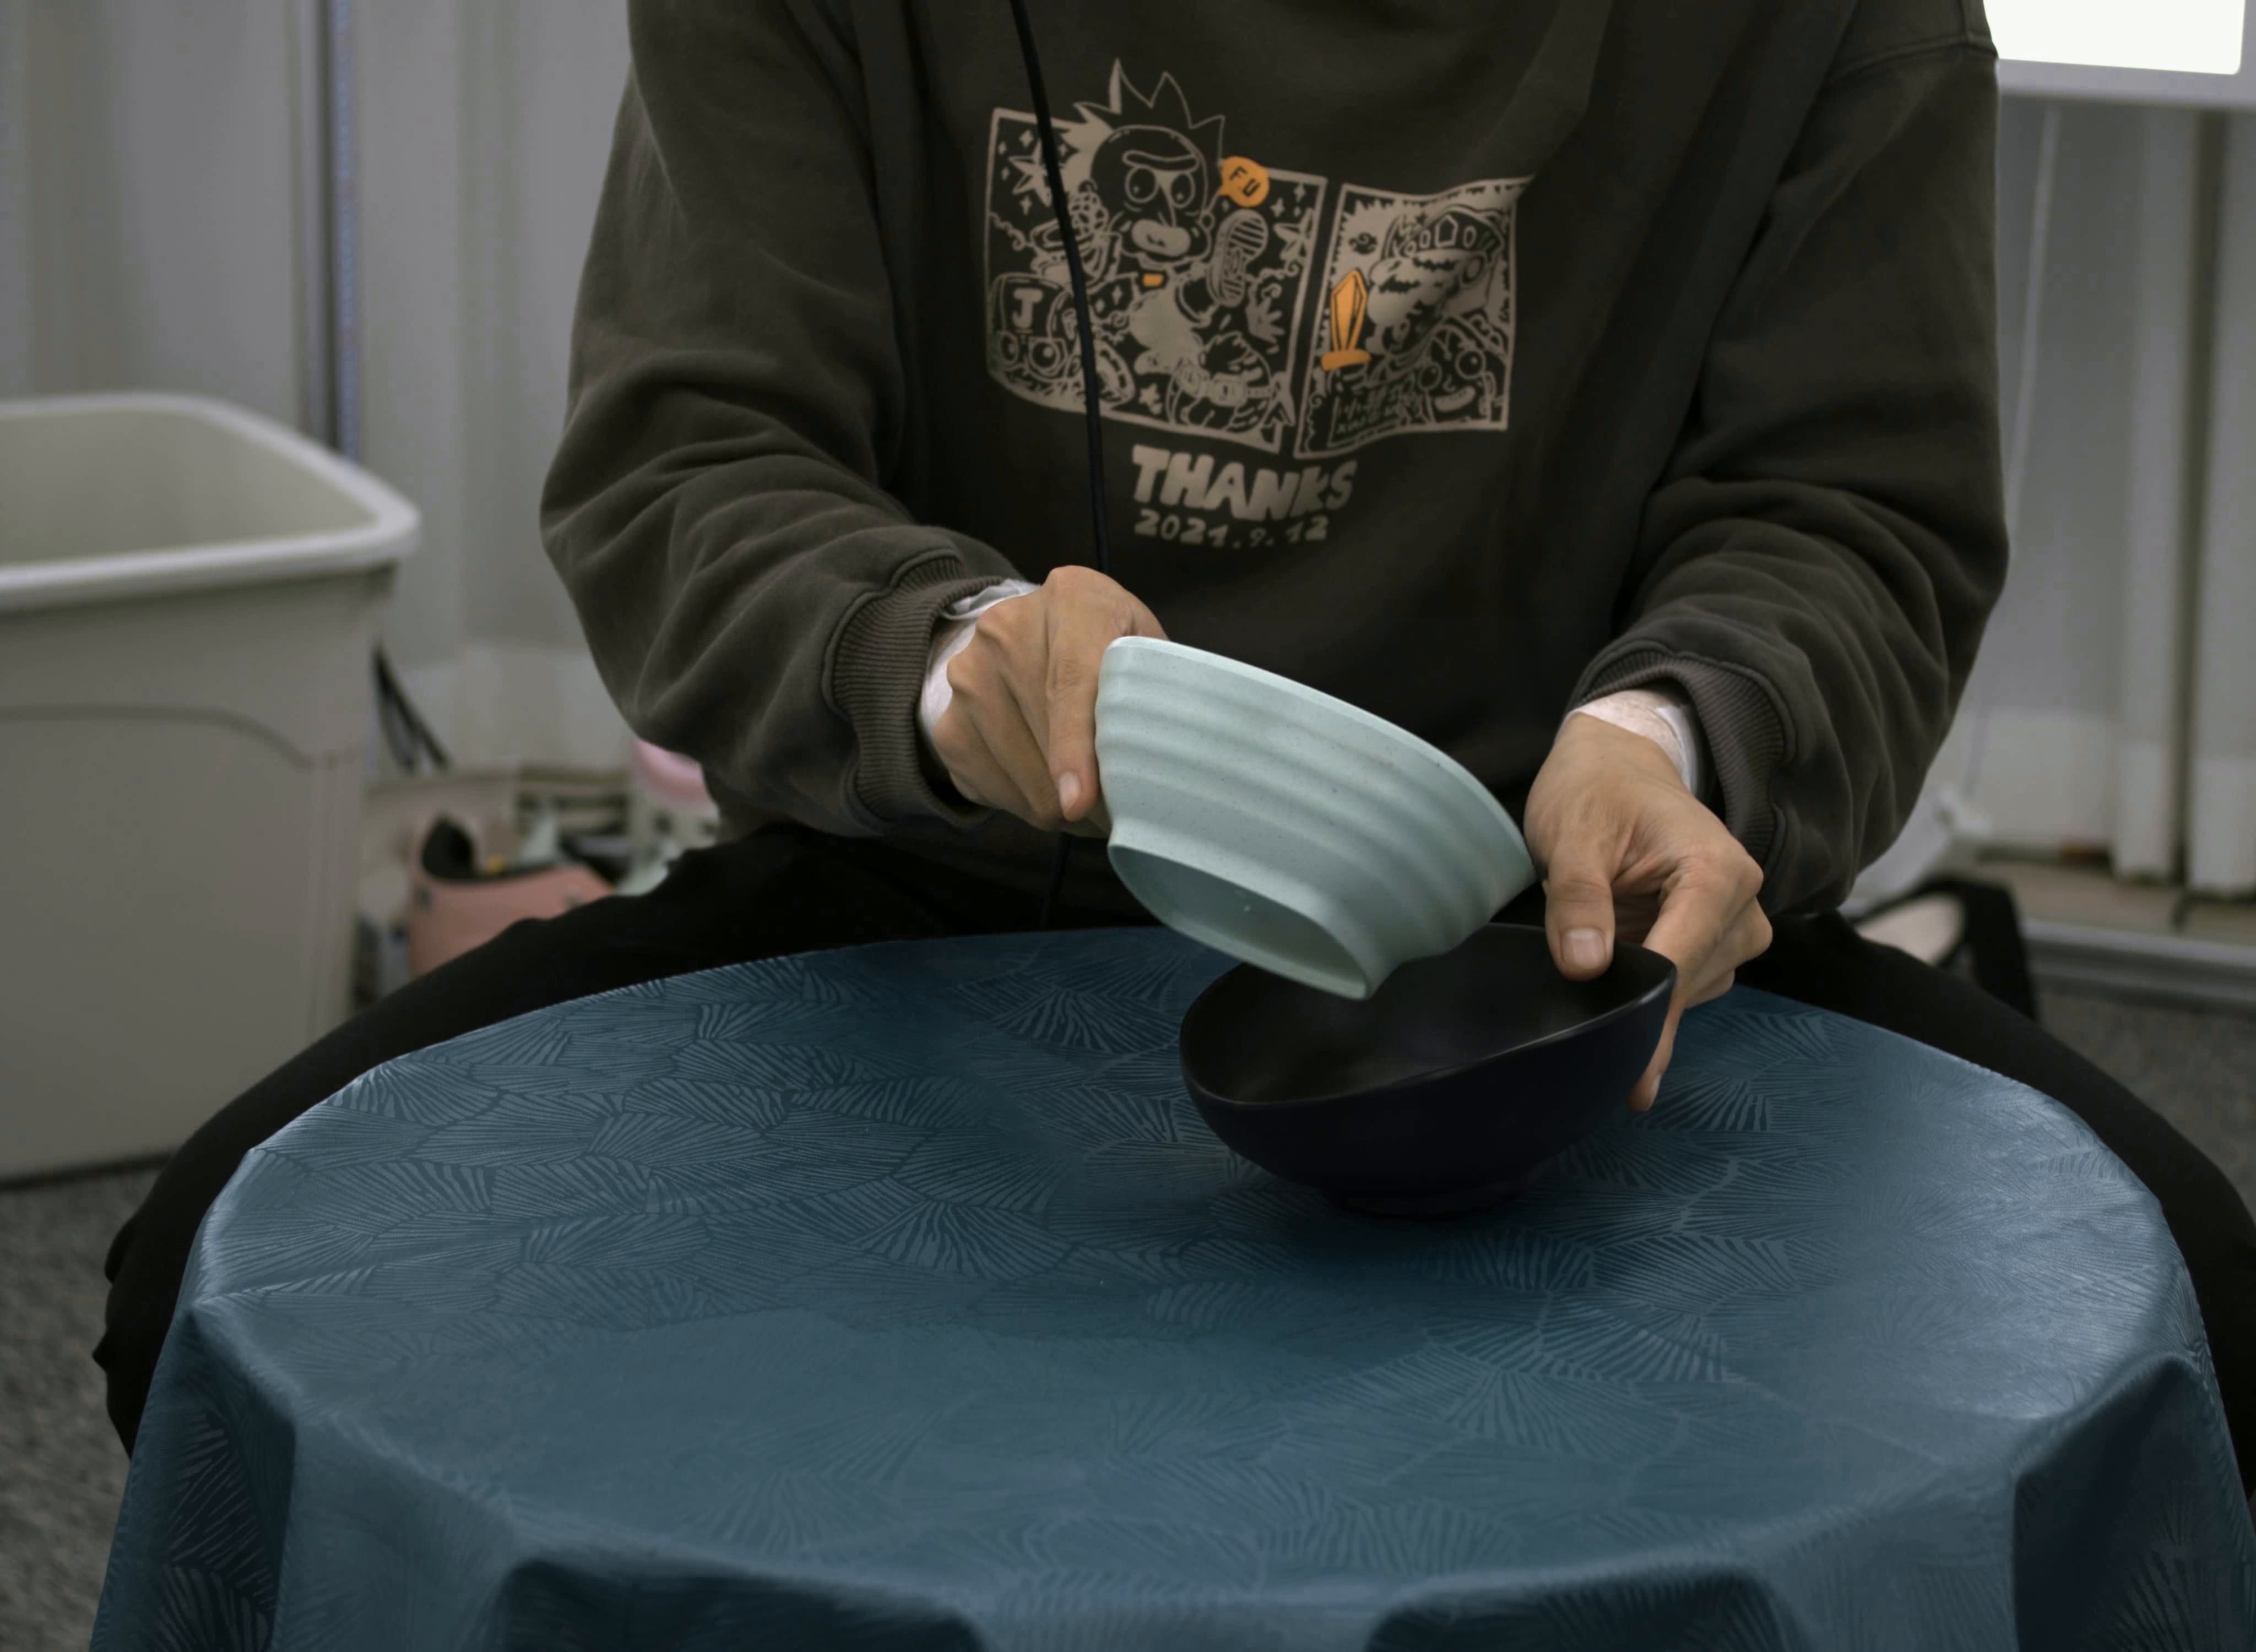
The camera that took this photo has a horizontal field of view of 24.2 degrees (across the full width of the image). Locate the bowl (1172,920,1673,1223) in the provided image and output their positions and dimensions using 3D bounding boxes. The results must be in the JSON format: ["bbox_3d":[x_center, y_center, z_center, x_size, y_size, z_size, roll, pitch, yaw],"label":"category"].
[{"bbox_3d":[0.092,0.080,1.613,0.135,0.067,0.171,11,22,44],"label":"bowl"}]

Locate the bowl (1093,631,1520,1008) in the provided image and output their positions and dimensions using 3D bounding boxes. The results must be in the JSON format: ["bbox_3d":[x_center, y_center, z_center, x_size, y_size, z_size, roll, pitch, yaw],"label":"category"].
[{"bbox_3d":[0.044,0.006,1.600,0.150,0.058,0.152,28,-13,8],"label":"bowl"}]
